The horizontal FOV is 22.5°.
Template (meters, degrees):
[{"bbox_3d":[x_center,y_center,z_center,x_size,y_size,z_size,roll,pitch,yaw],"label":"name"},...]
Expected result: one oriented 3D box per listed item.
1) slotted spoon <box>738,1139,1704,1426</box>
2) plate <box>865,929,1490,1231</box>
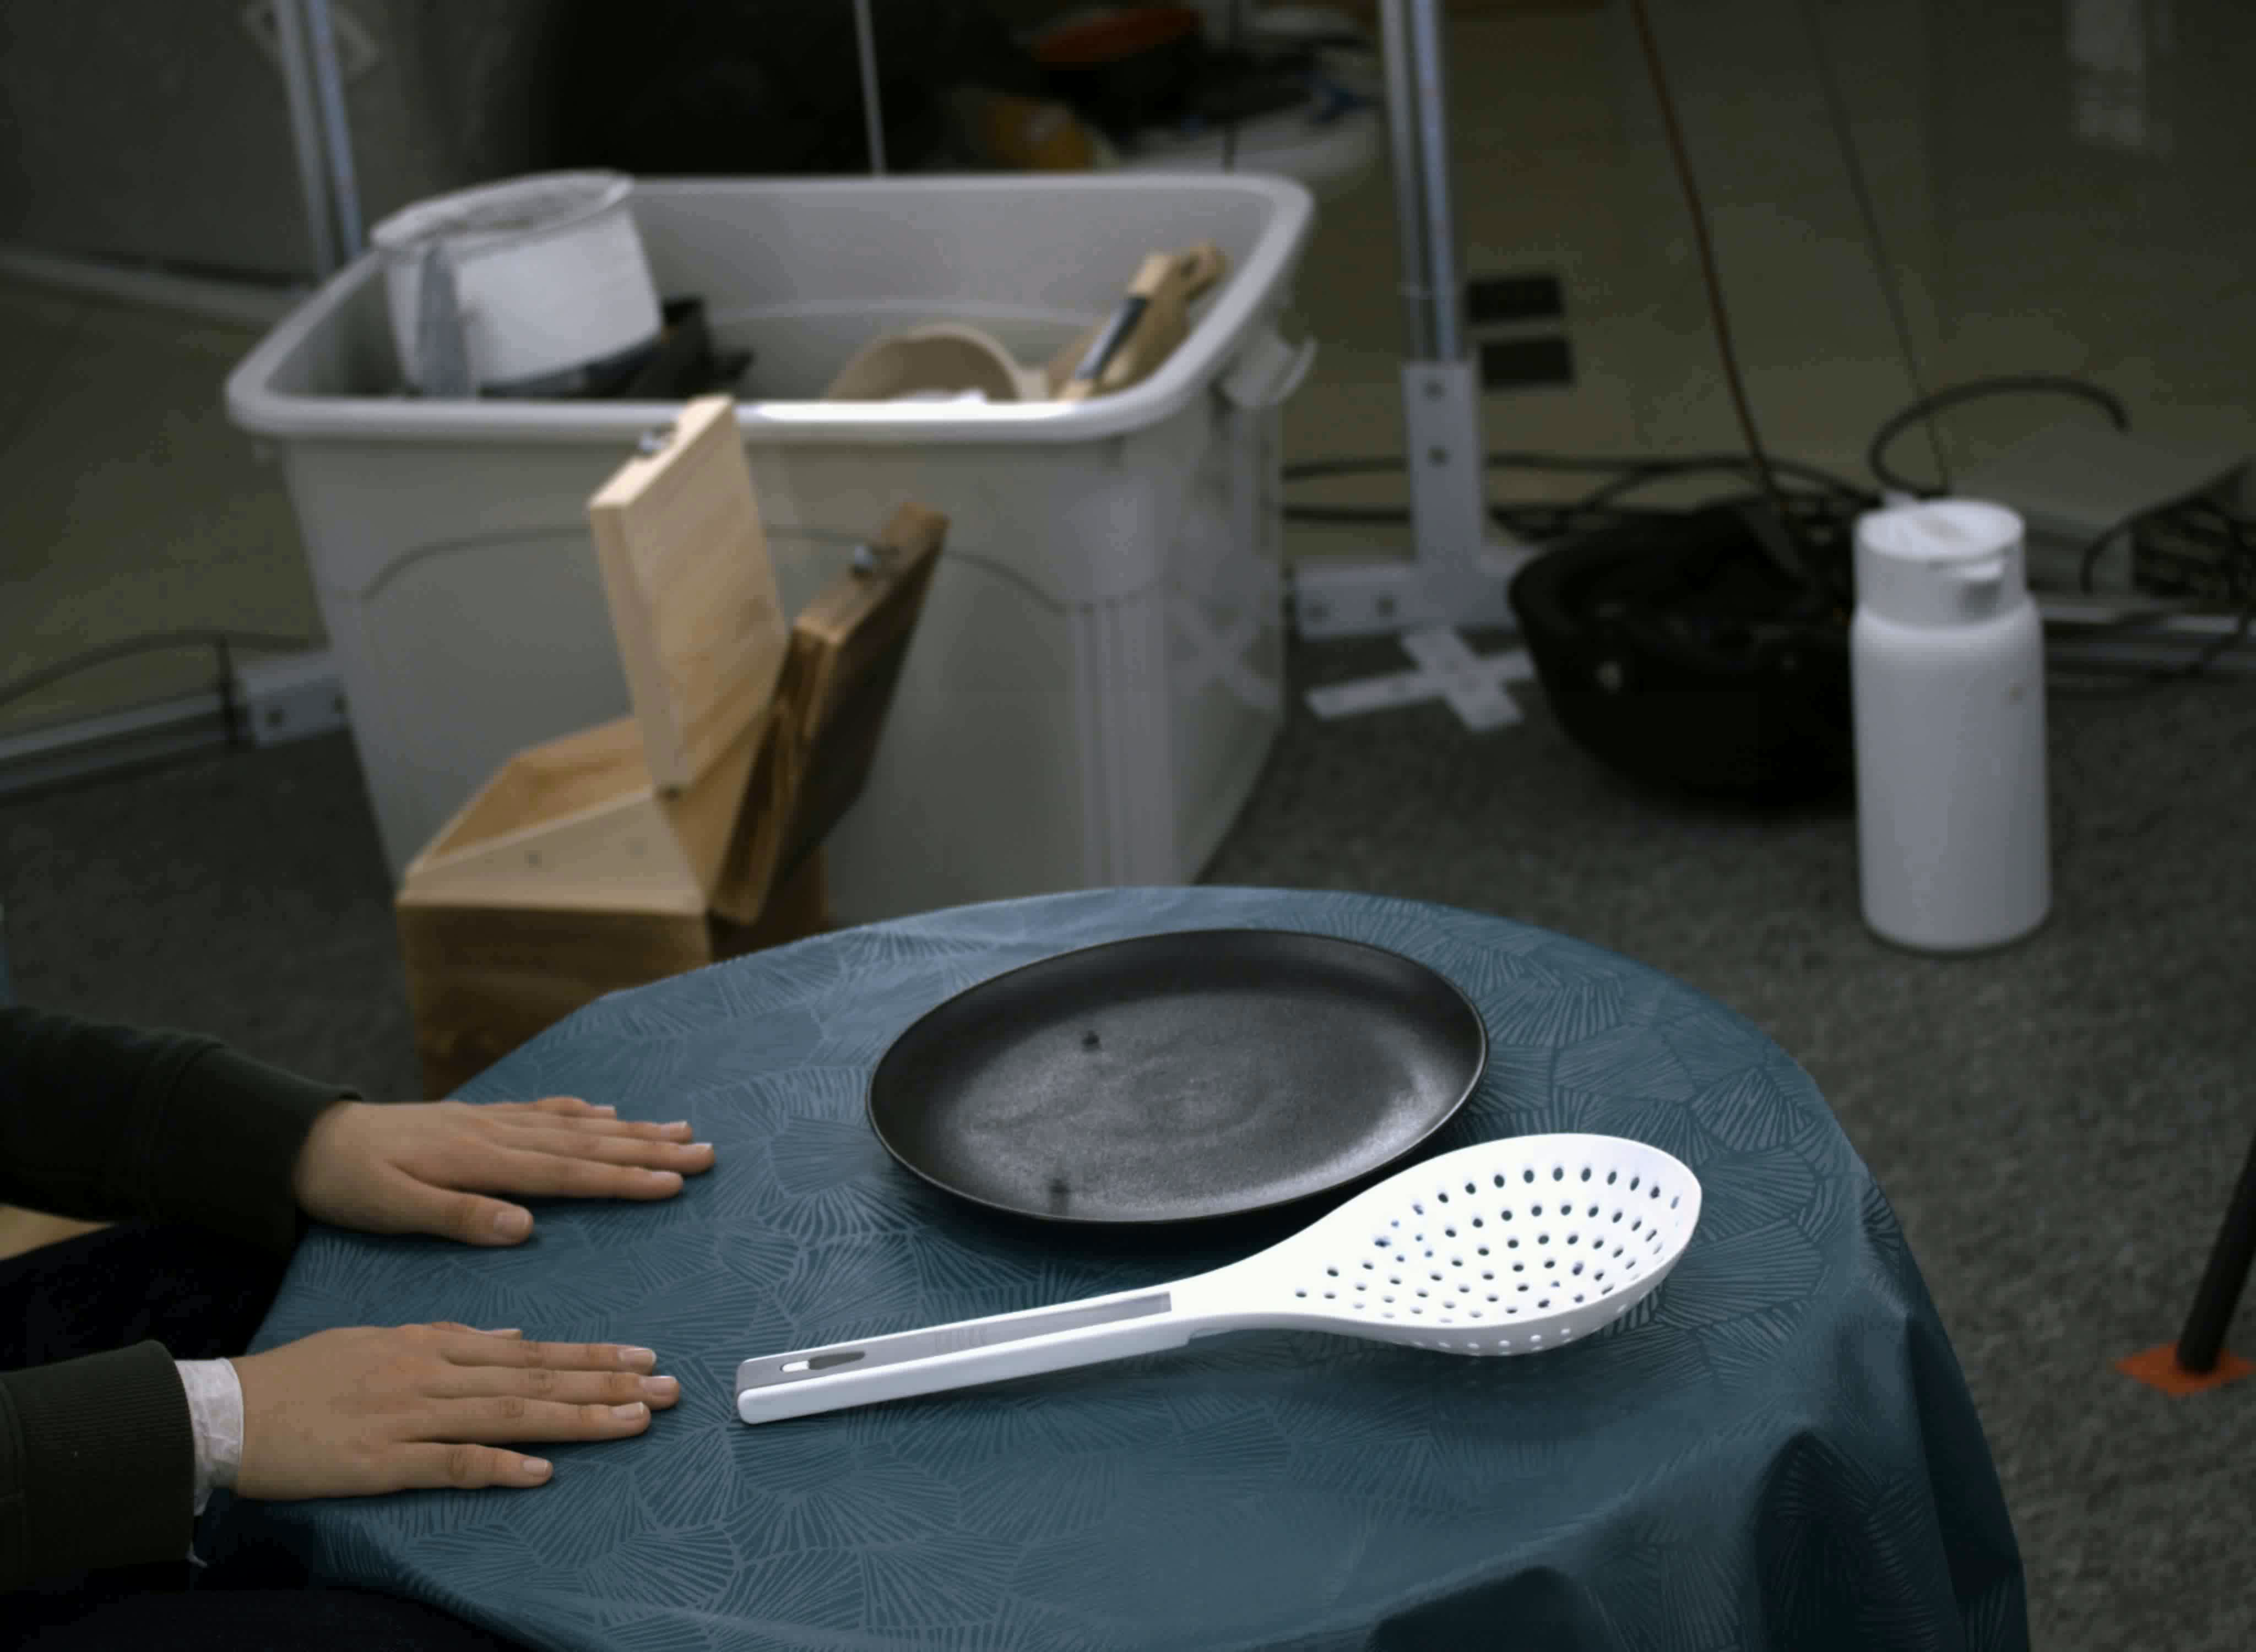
[{"bbox_3d":[0.032,0.171,2.022,0.349,0.046,0.134,-7,23,1],"label":"slotted spoon"},{"bbox_3d":[0.019,0.103,2.197,0.244,0.024,0.241,-5,25,3],"label":"plate"}]
